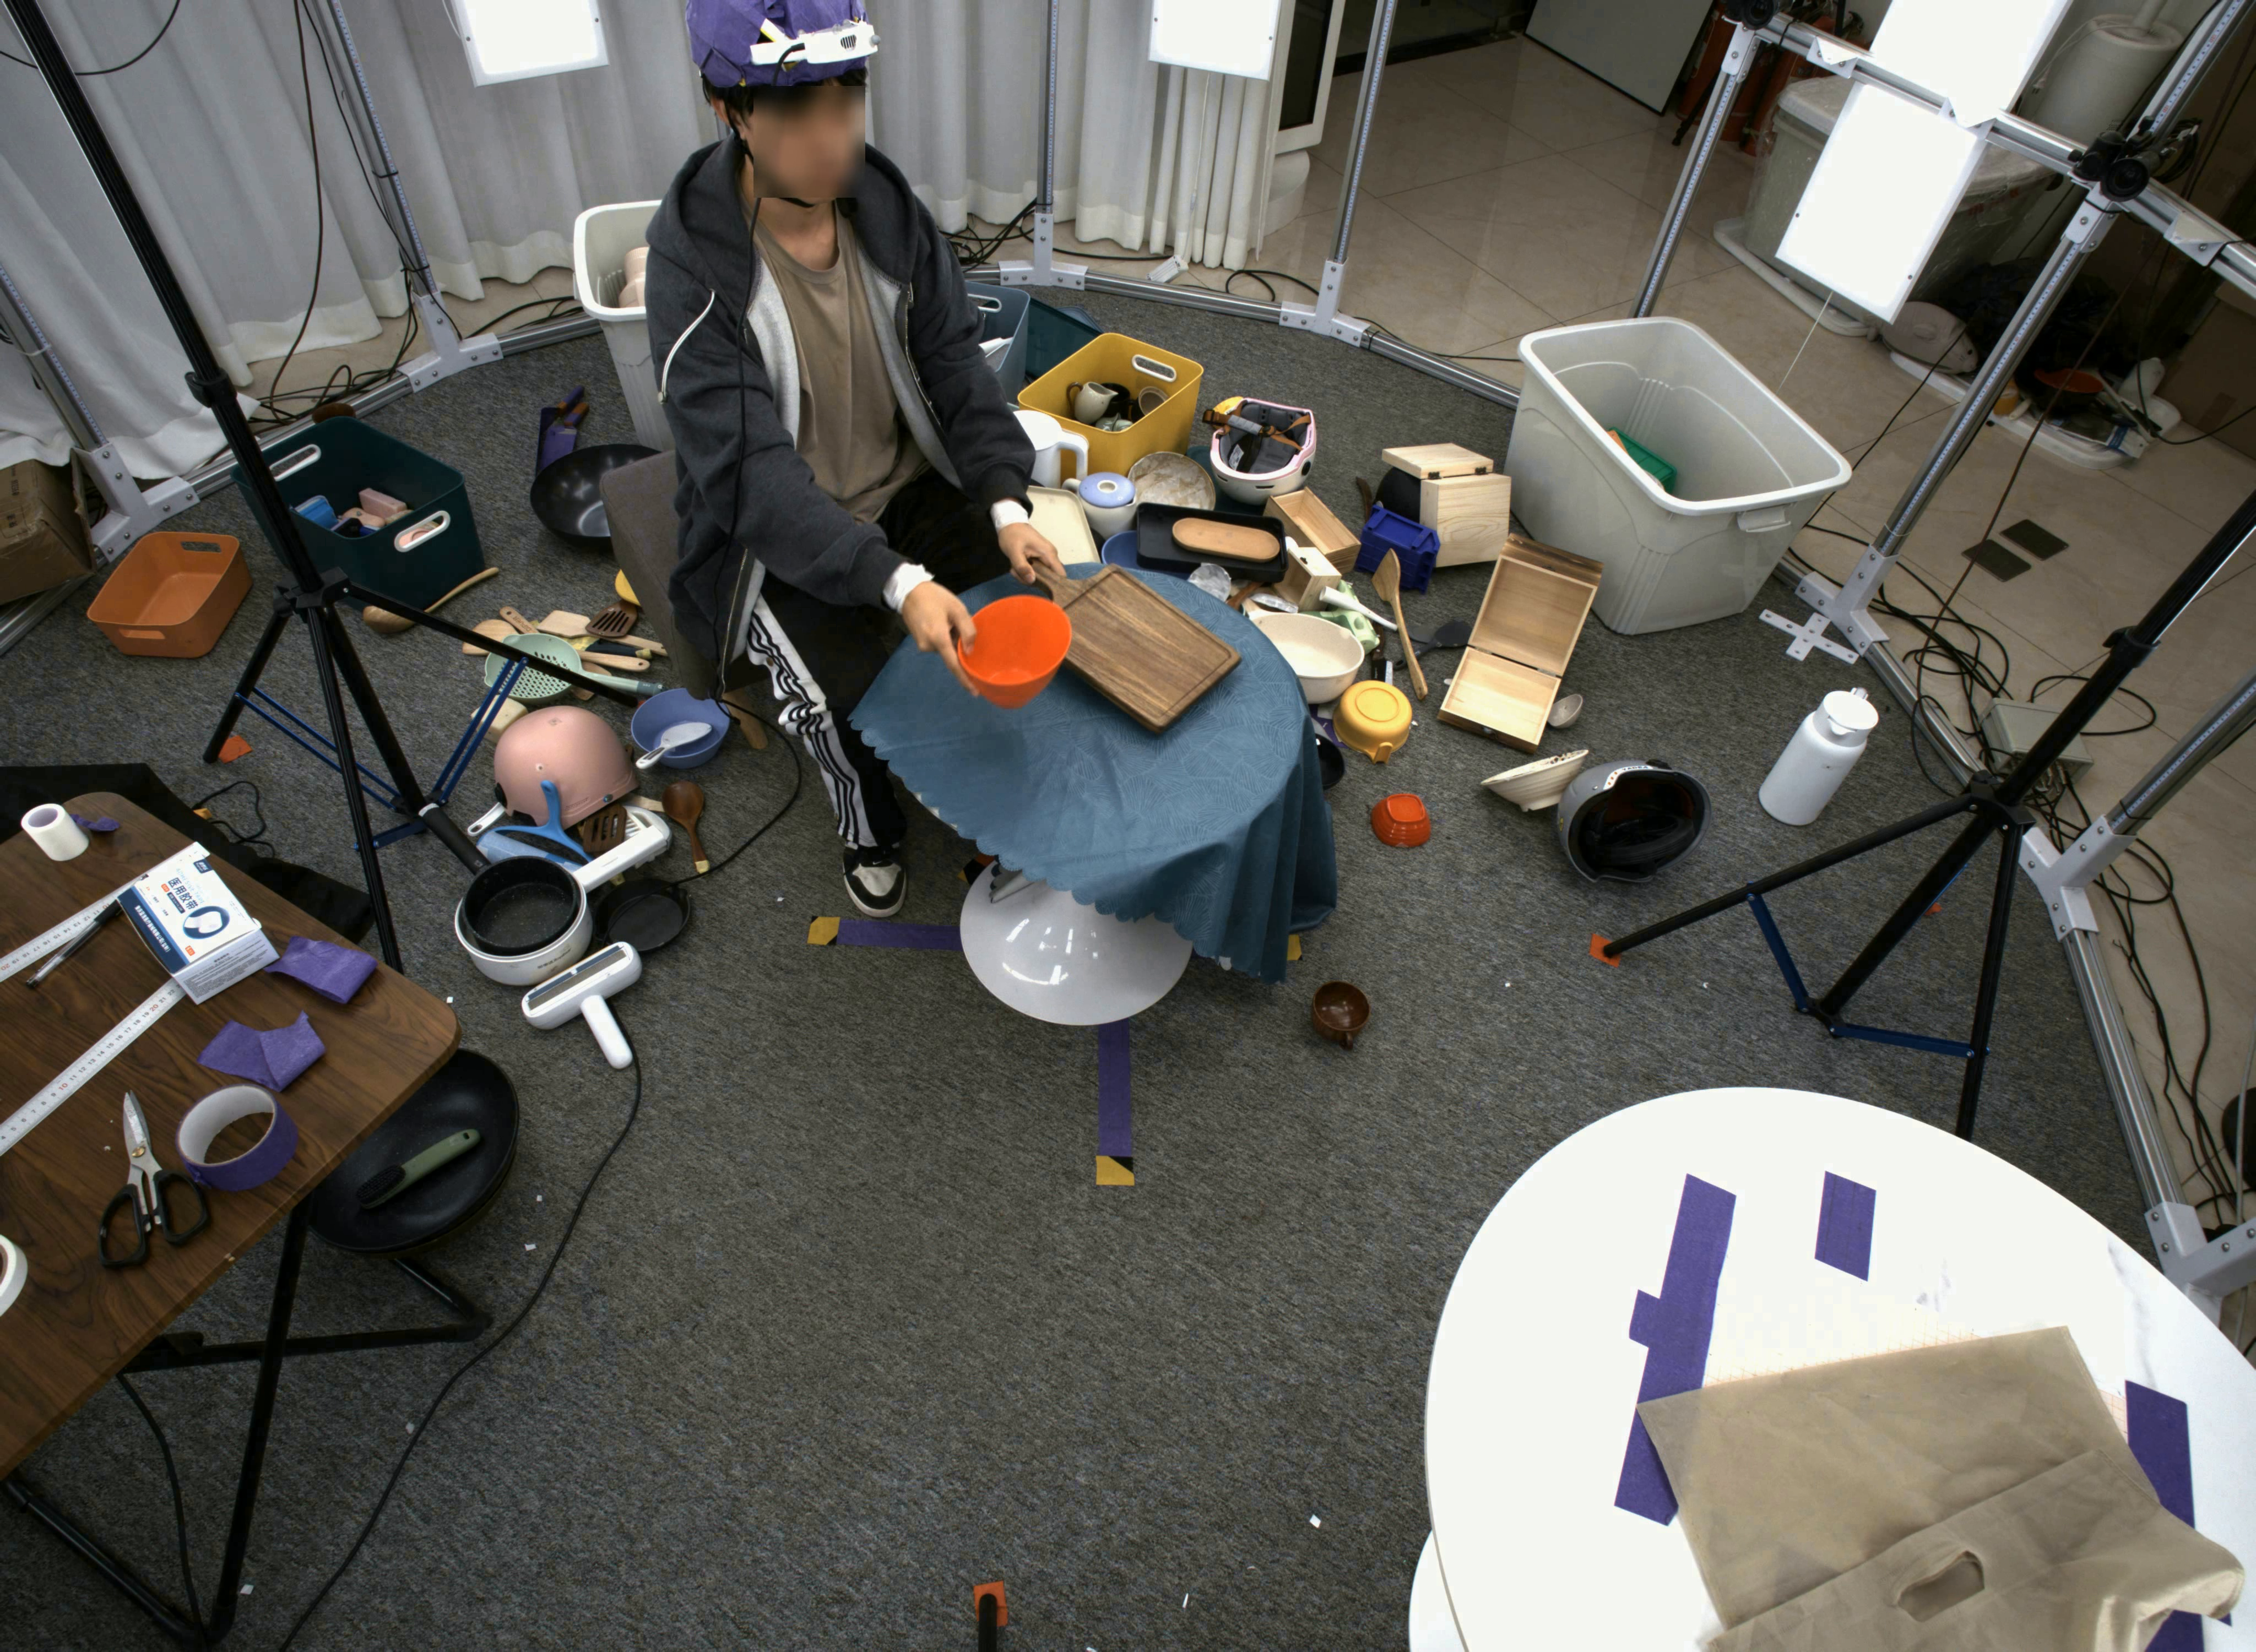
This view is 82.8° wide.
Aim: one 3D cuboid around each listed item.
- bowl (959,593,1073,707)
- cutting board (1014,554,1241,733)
[{"bbox_3d":[-0.144,-0.219,1.680,0.148,0.102,0.151,0,51,-1],"label":"bowl"},{"bbox_3d":[-0.028,-0.290,1.854,0.356,0.023,0.203,38,57,17],"label":"cutting board"}]
